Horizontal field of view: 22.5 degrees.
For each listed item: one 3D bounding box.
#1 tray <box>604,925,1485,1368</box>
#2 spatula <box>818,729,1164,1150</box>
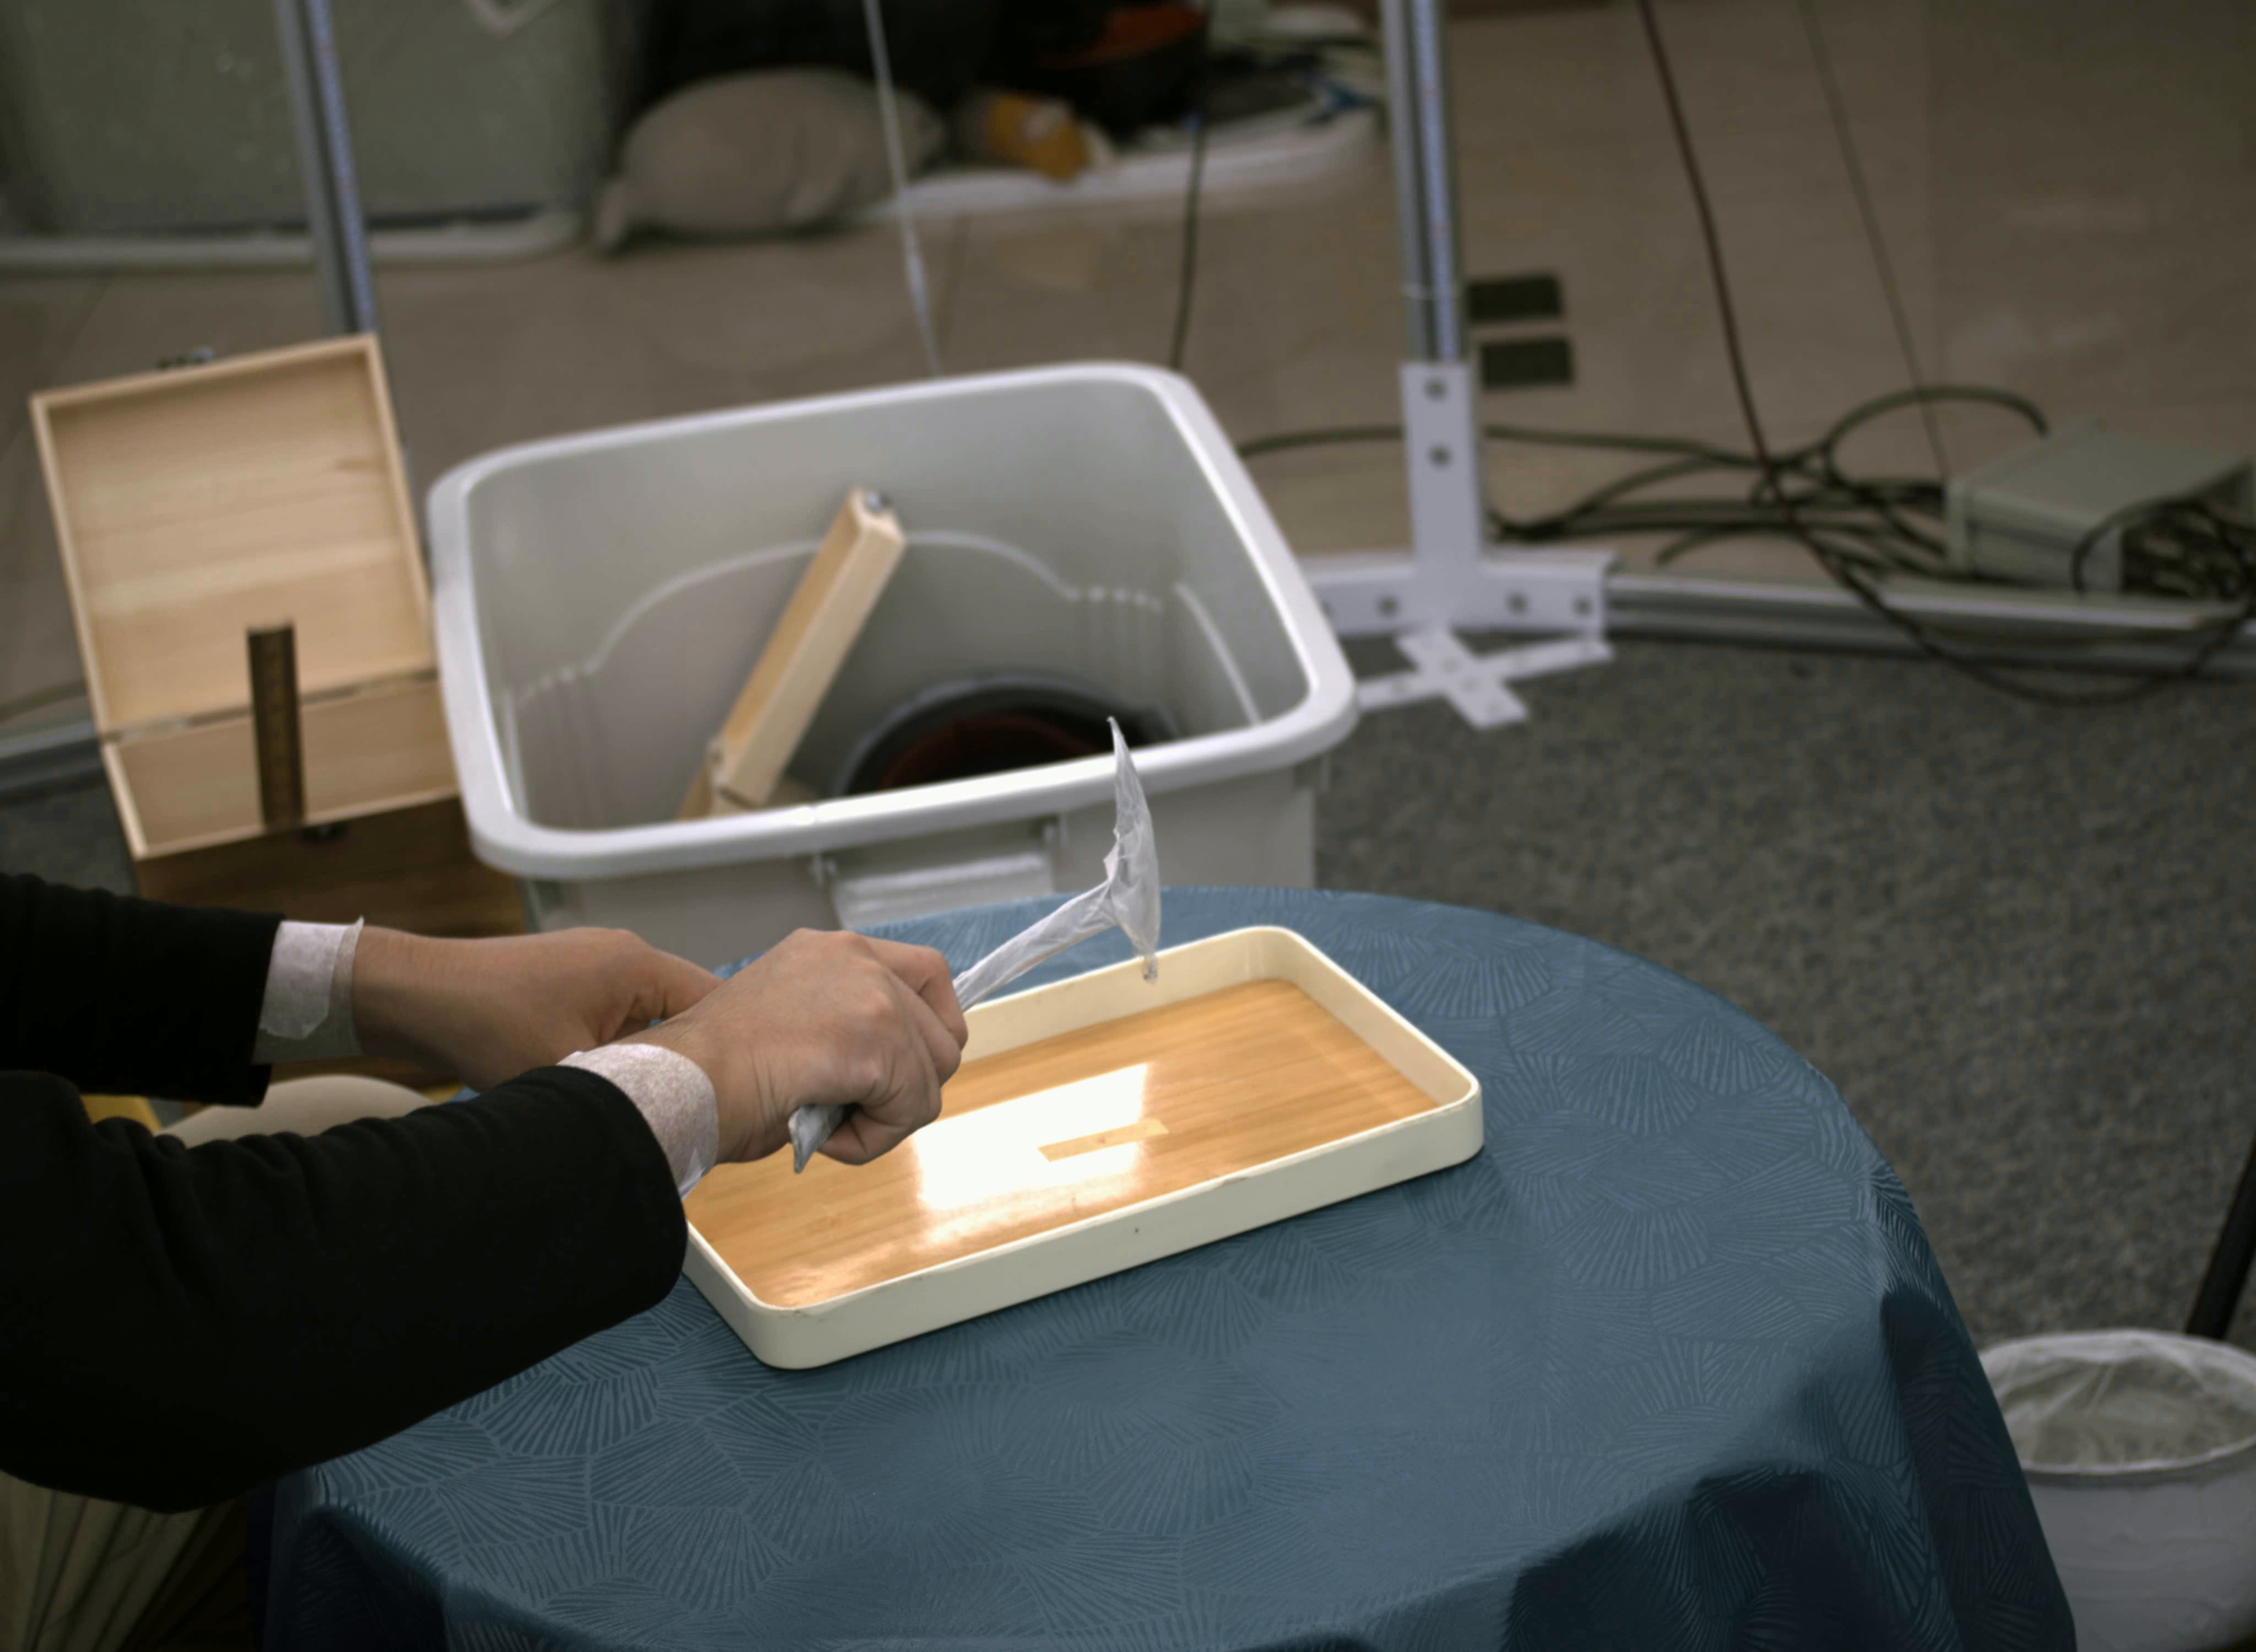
[{"bbox_3d":[-0.033,0.119,2.168,0.299,0.028,0.189,-16,26,-19],"label":"tray"},{"bbox_3d":[-0.050,0.050,2.034,0.045,0.099,0.361,-3,14,25],"label":"spatula"}]
